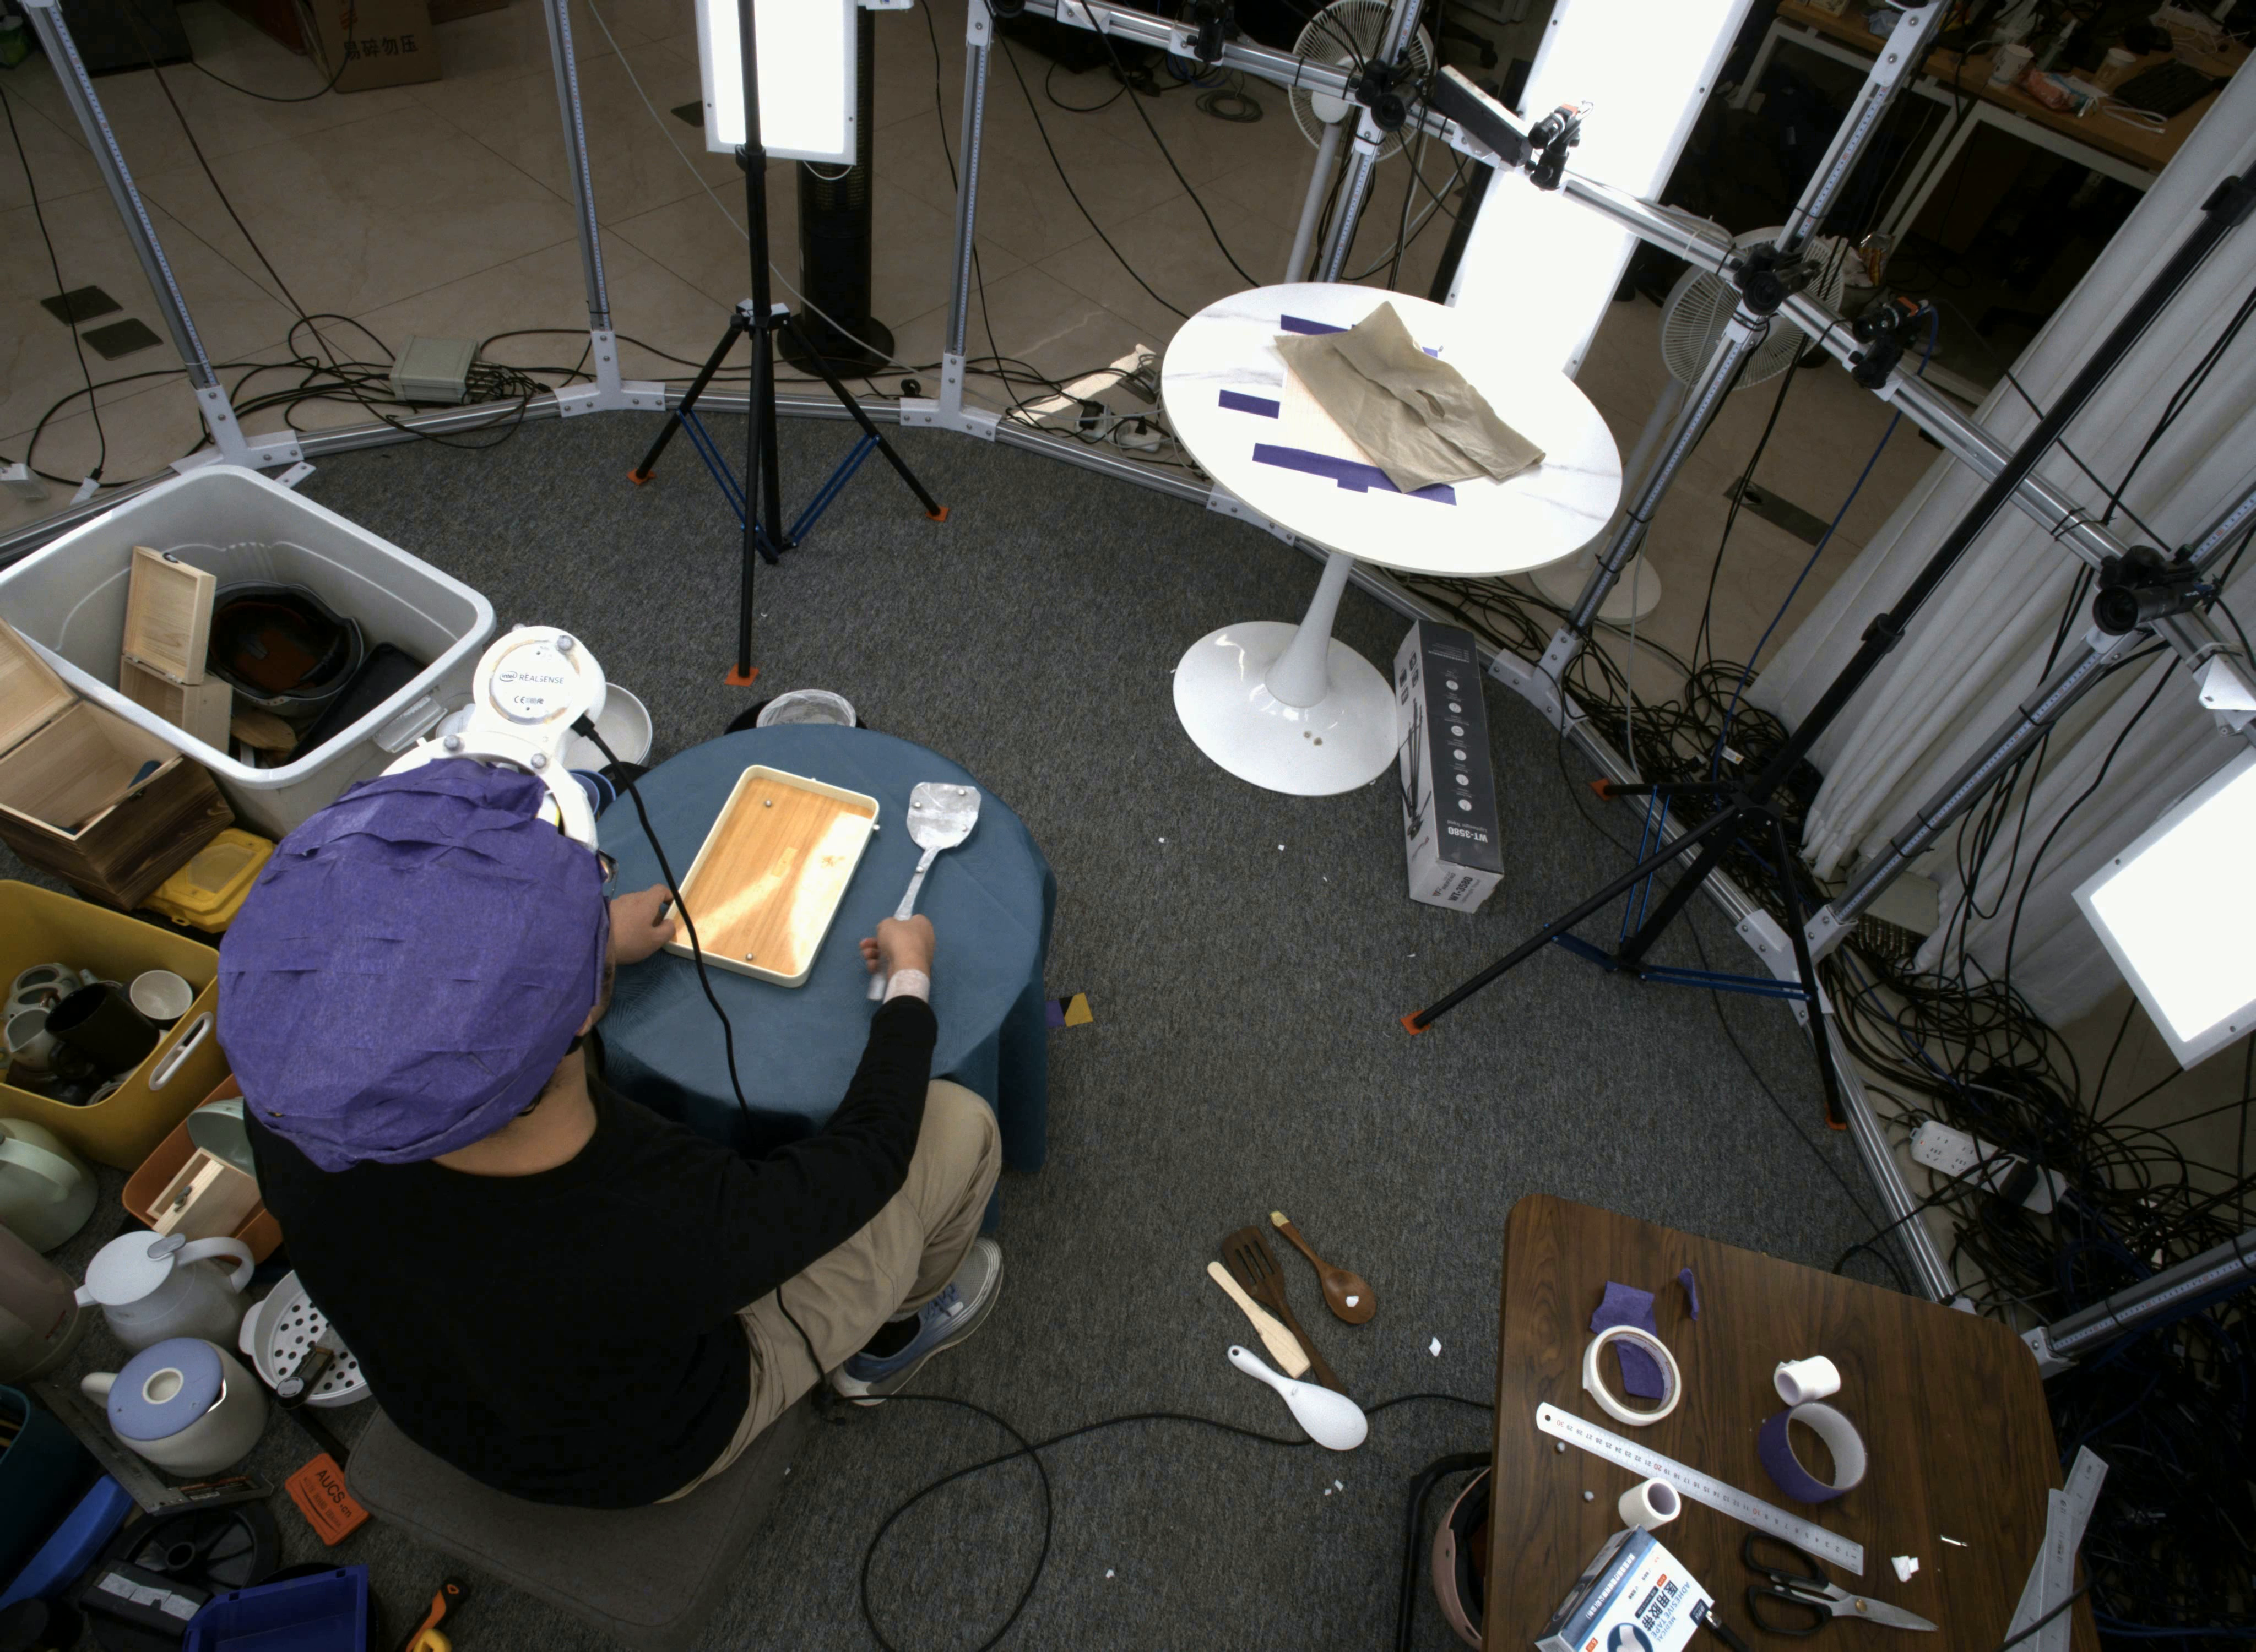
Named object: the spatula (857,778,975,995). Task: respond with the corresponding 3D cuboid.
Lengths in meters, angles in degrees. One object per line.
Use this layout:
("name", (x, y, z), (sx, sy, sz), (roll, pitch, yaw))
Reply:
("spatula", (-0.281, 0.068, 1.657), (0.097, 0.046, 0.359), (8, 41, 5))

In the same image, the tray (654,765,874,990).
("tray", (-0.458, 0.057, 1.650), (0.190, 0.028, 0.296), (17, 52, -2))
